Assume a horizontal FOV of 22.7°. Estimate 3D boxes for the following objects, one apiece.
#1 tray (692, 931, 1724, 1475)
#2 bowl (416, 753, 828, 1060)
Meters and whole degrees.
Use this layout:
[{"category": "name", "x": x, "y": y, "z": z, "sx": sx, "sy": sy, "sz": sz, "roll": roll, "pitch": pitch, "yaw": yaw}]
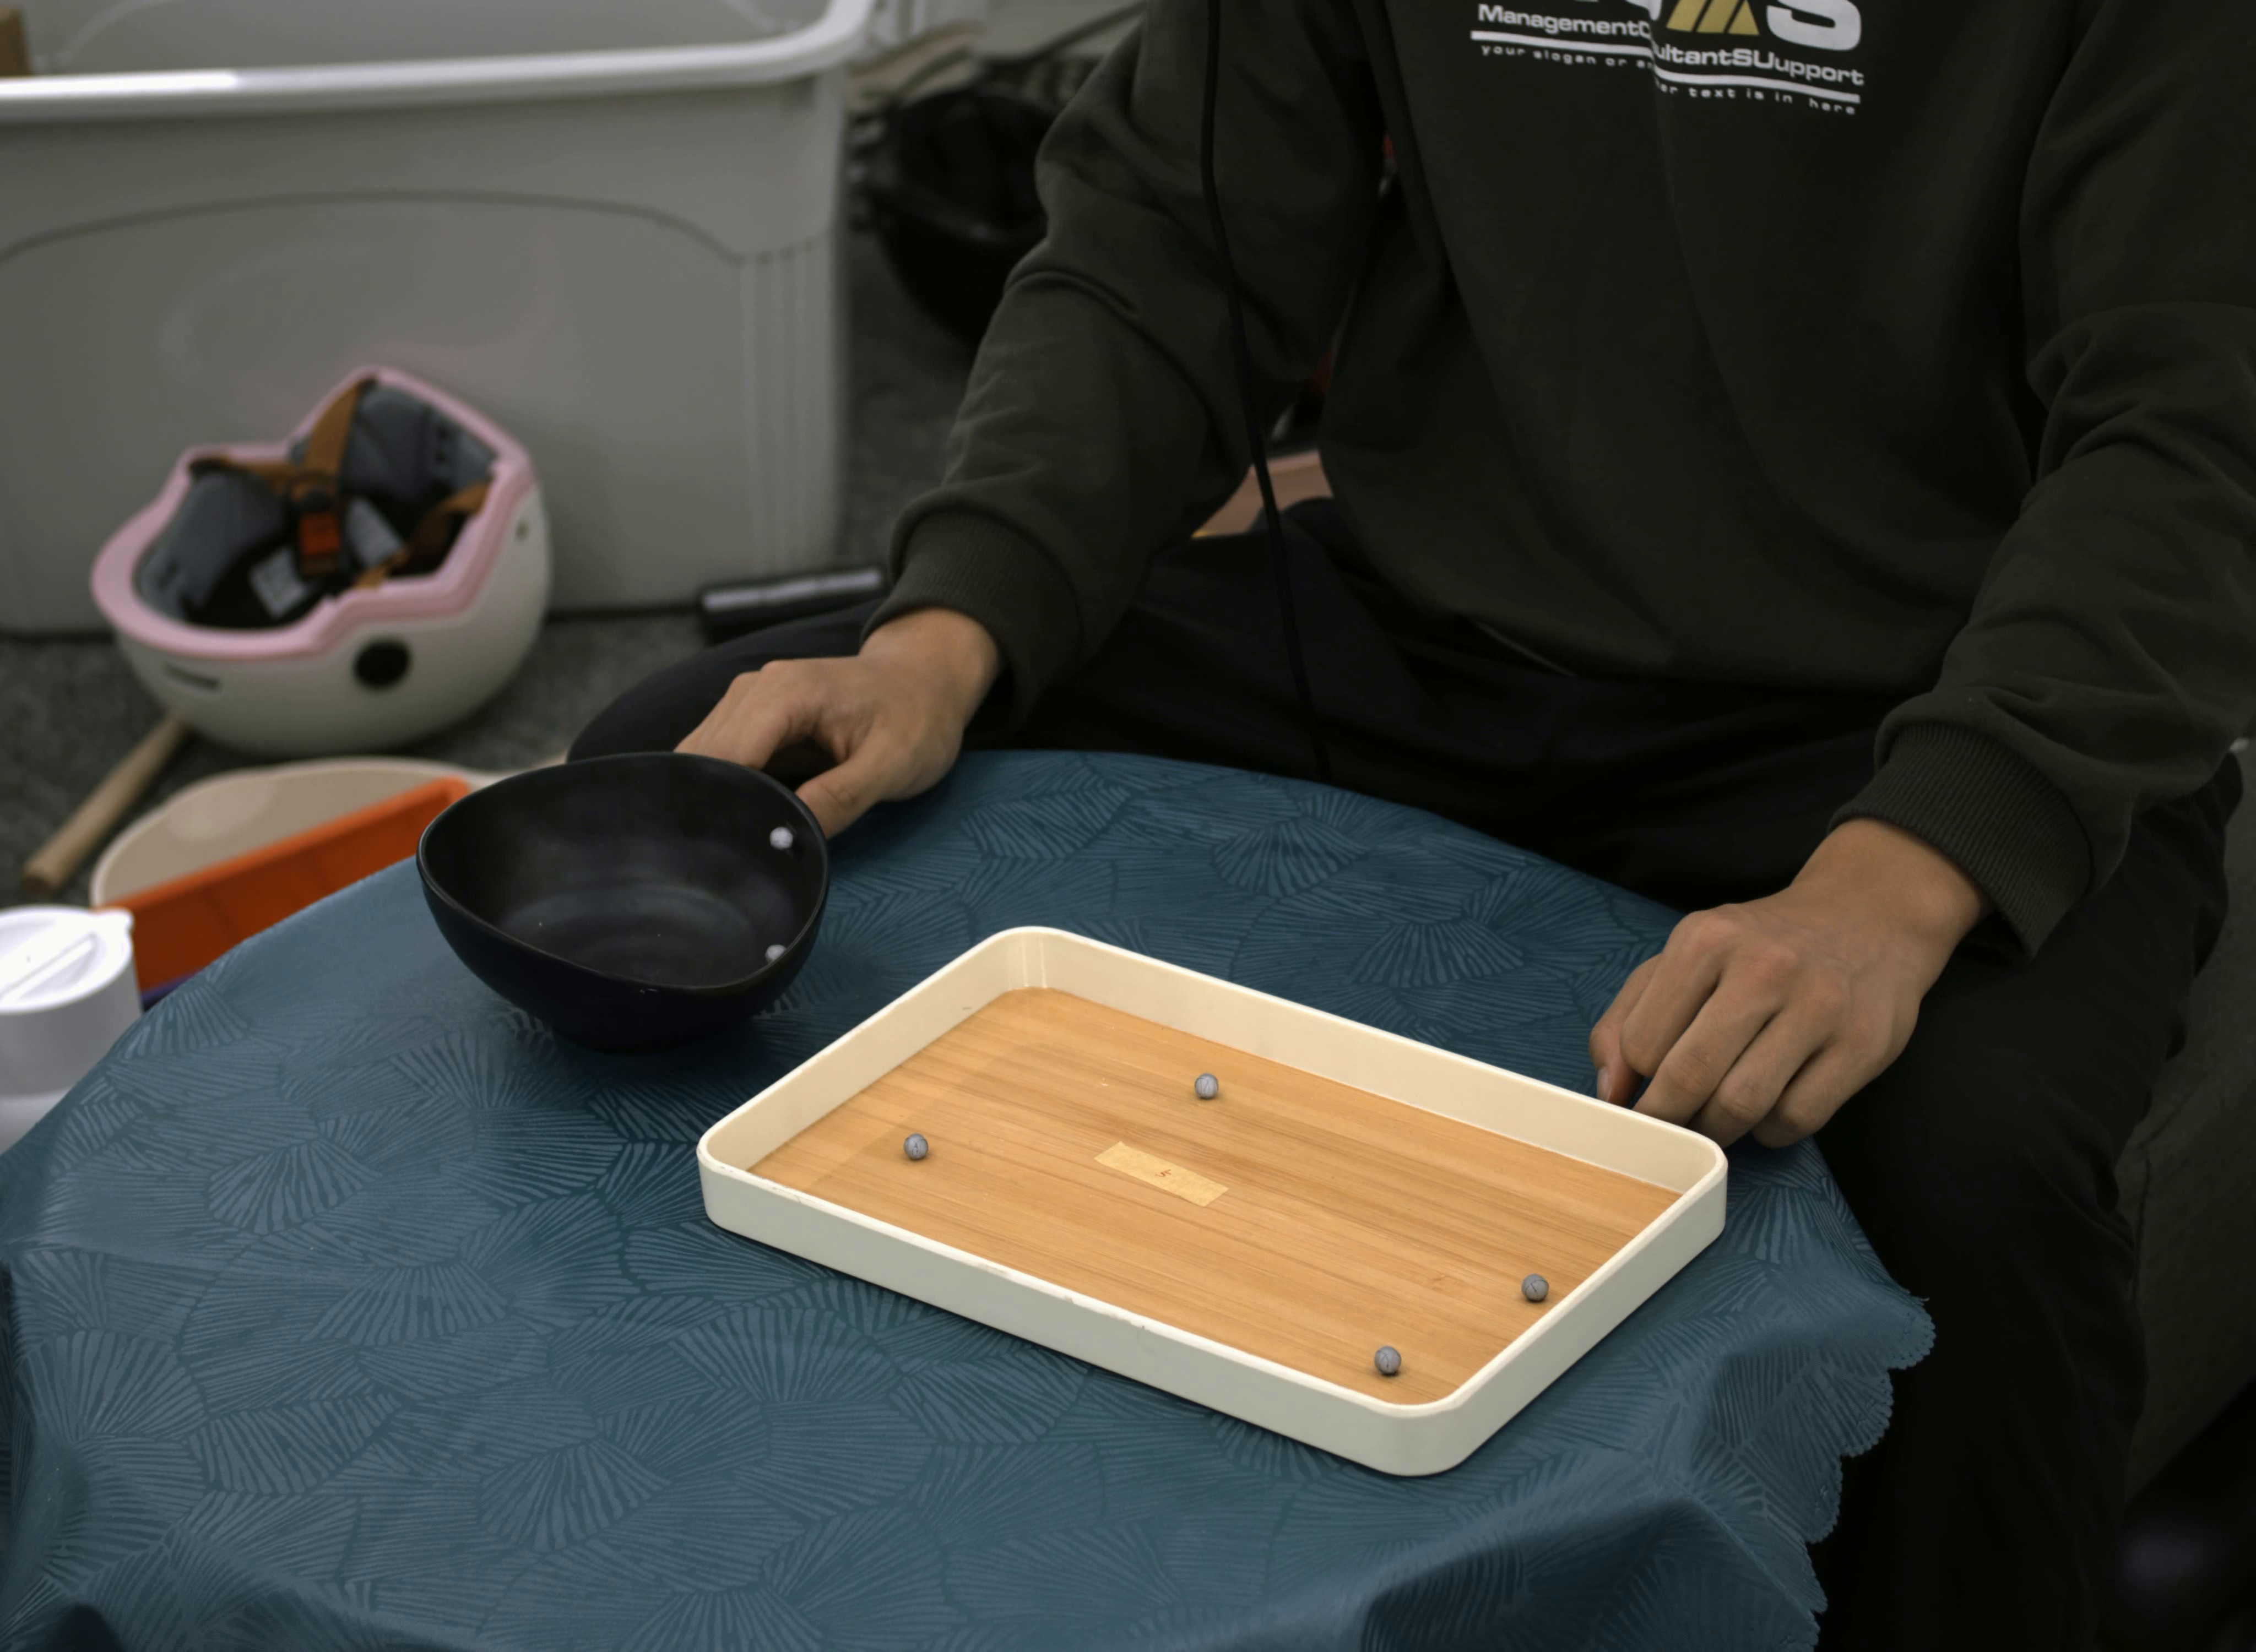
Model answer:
[{"category": "tray", "x": 0.025, "y": 0.118, "z": 1.841, "sx": 0.299, "sy": 0.027, "sz": 0.194, "roll": 16, "pitch": 32, "yaw": 33}, {"category": "bowl", "x": -0.174, "y": 0.037, "z": 1.977, "sx": 0.138, "sy": 0.066, "sz": 0.171, "roll": -20, "pitch": 34, "yaw": -29}]
